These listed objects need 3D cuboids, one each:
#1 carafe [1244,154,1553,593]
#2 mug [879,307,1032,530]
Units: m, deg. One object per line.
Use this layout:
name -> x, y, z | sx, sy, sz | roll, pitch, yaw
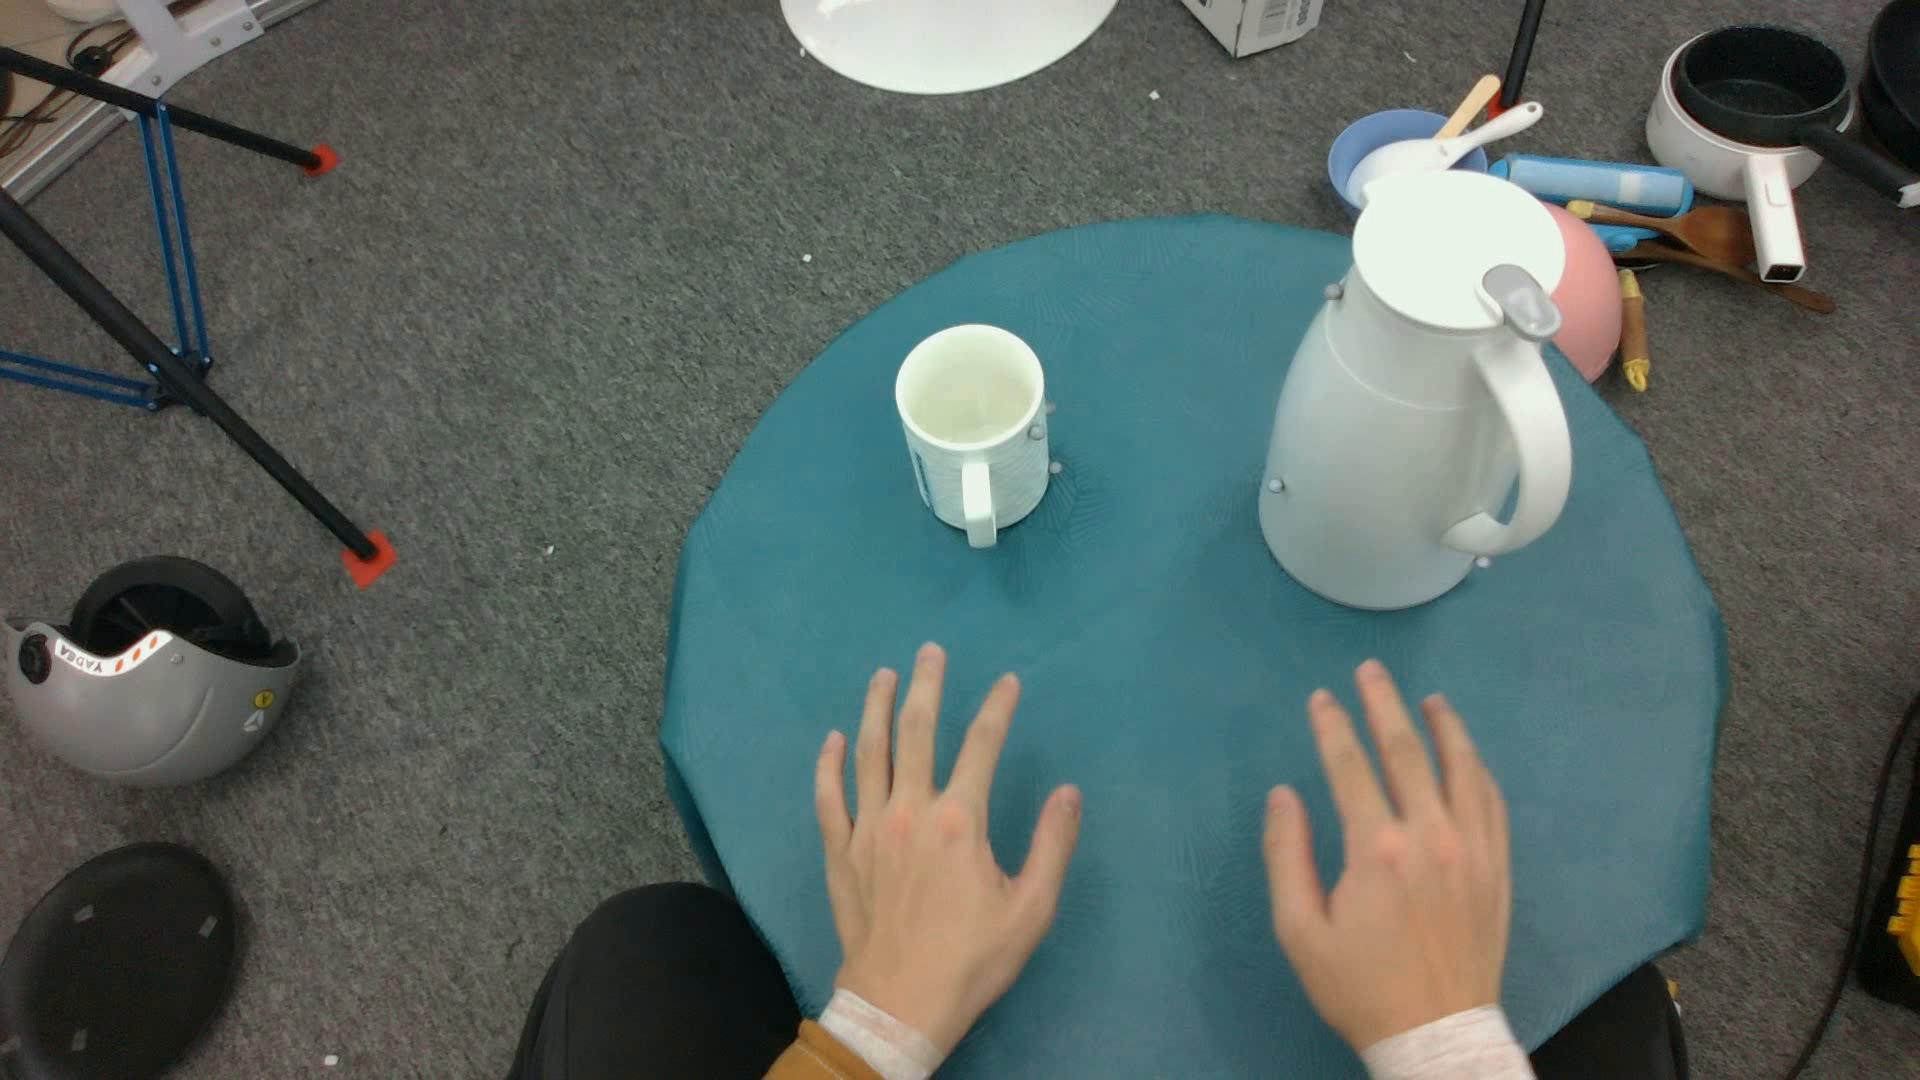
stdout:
carafe -> 0.236, -0.071, 0.716 | 0.133, 0.247, 0.168 | -25, 62, -9
mug -> 0.001, -0.060, 0.814 | 0.085, 0.101, 0.119 | -7, 59, 2
